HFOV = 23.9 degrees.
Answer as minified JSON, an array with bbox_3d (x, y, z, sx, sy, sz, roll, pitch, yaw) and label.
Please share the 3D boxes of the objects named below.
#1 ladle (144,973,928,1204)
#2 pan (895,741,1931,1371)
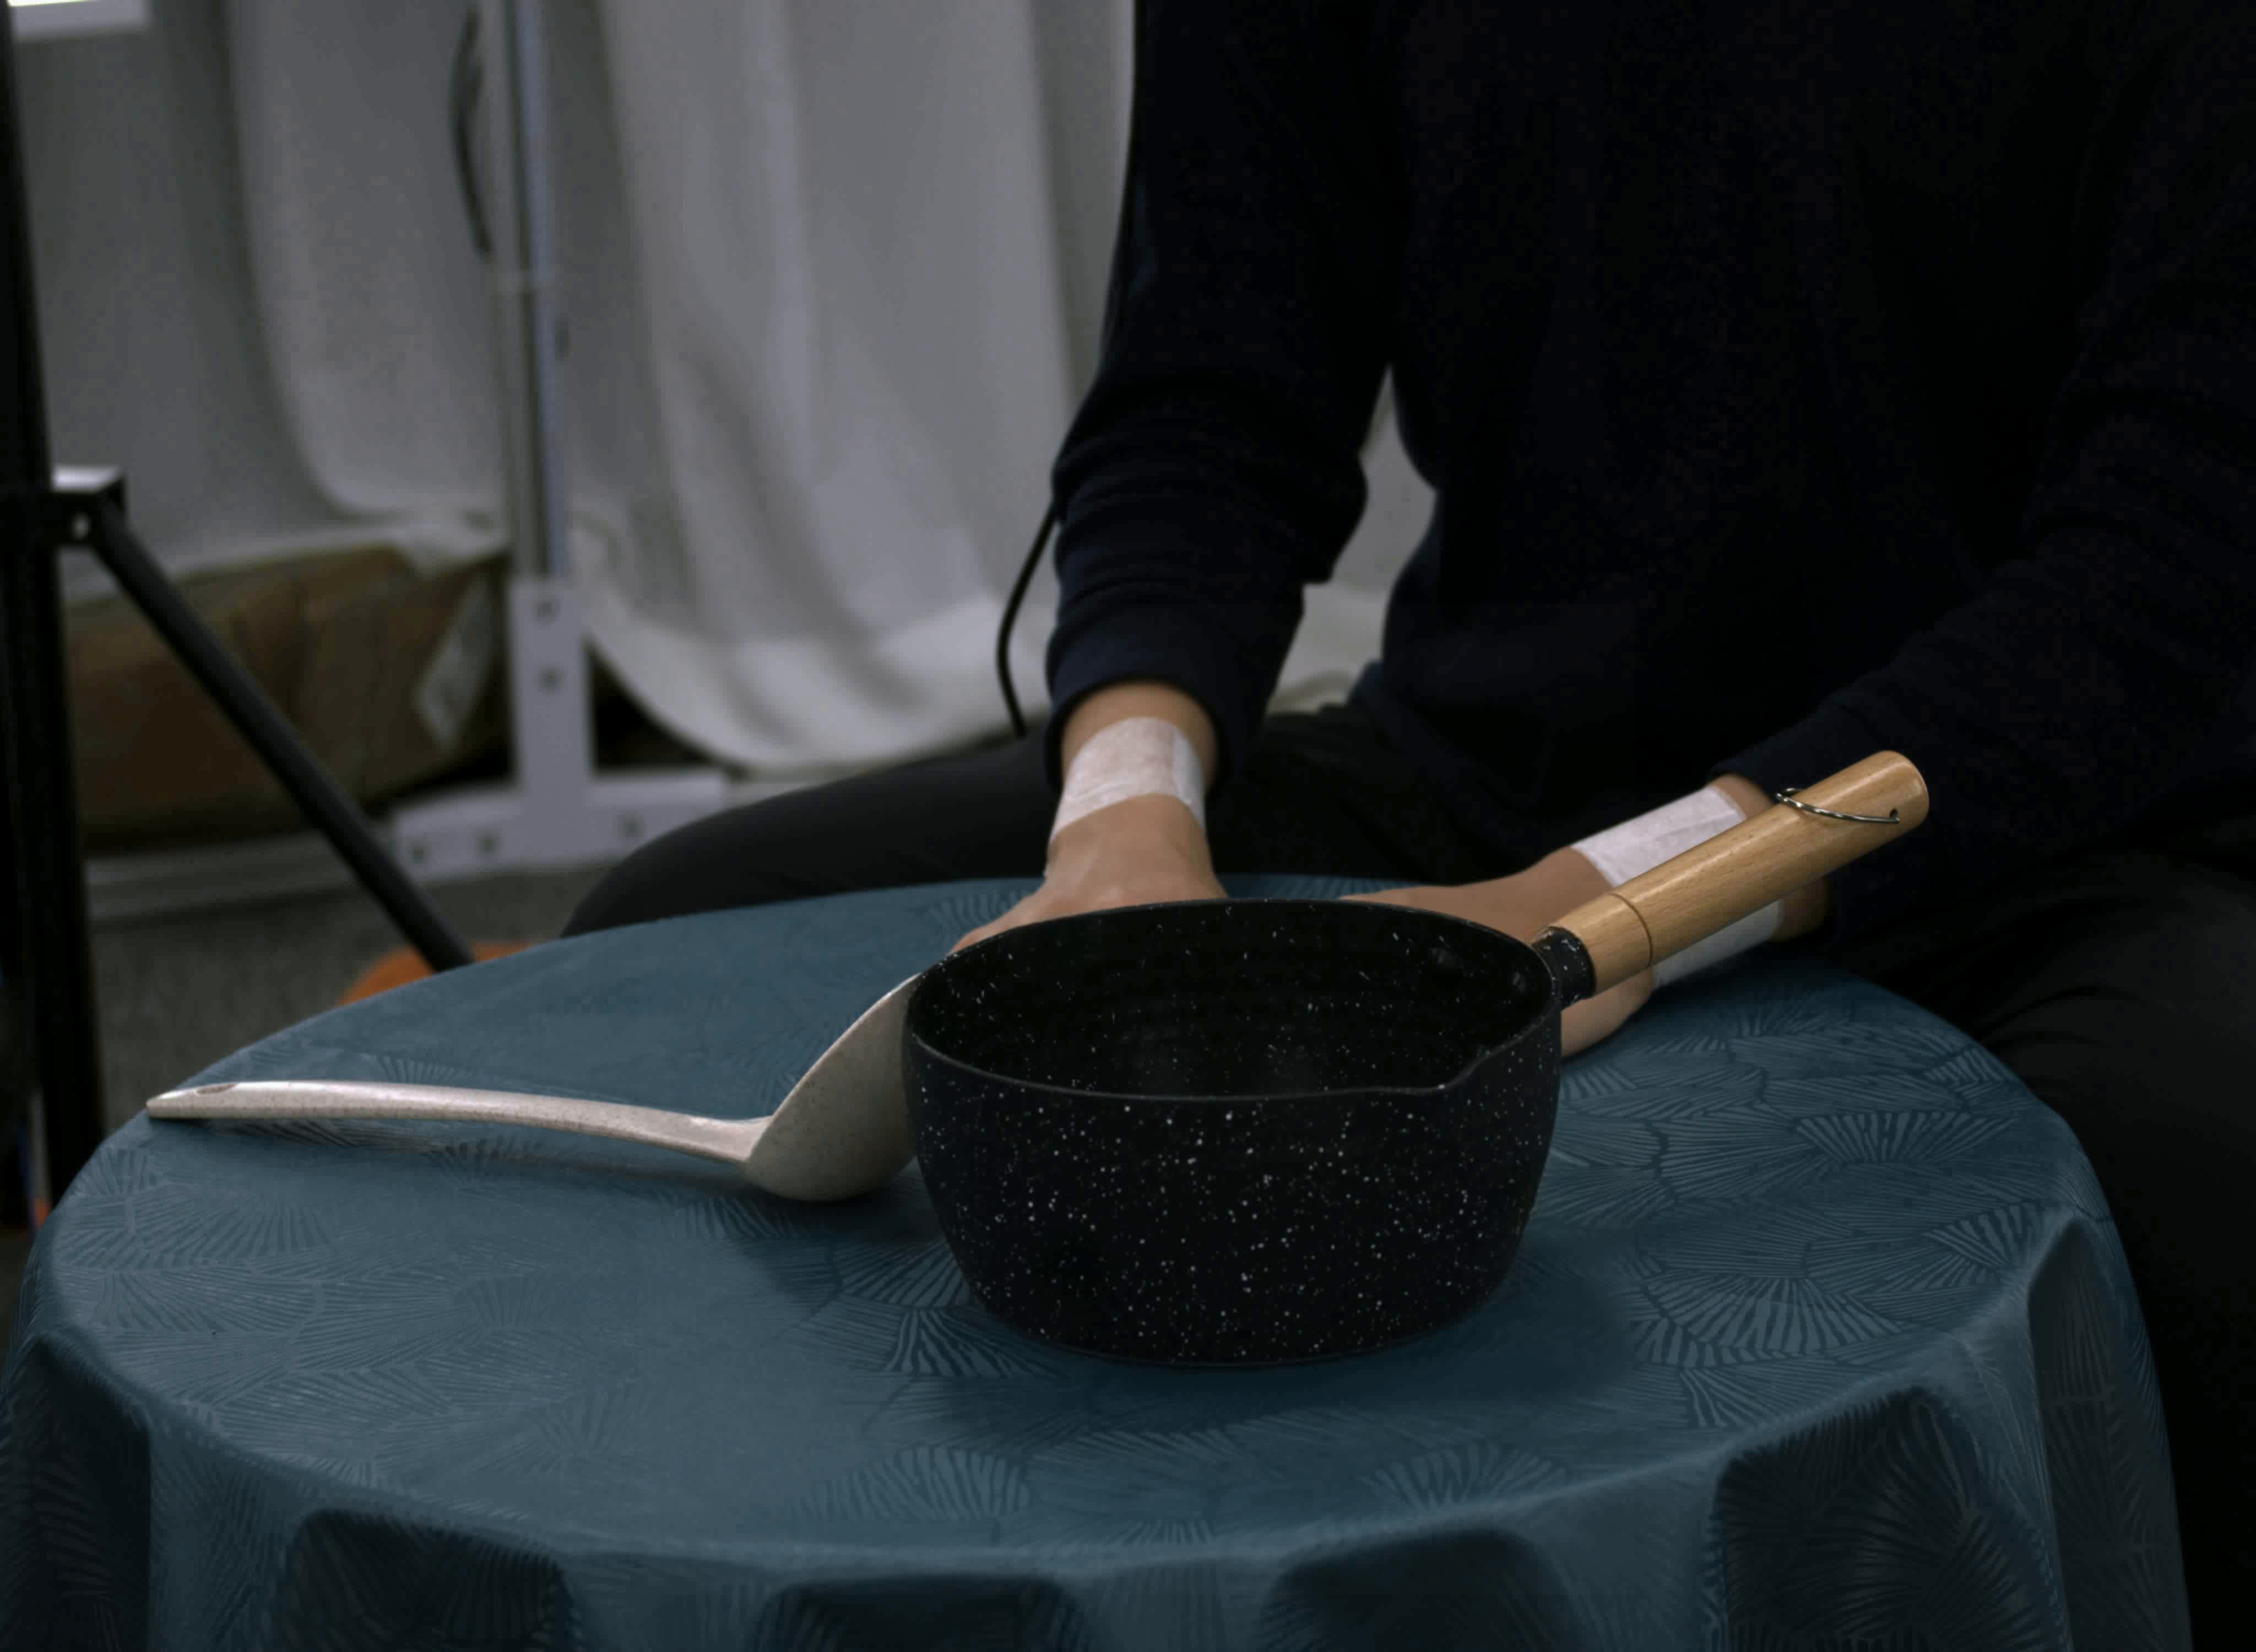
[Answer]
[{"bbox_3d":[-0.182,0.067,1.606,0.279,0.069,0.088,5,21,25],"label":"ladle"},{"bbox_3d":[0.094,0.060,1.513,0.335,0.108,0.212,-14,18,-31],"label":"pan"}]
